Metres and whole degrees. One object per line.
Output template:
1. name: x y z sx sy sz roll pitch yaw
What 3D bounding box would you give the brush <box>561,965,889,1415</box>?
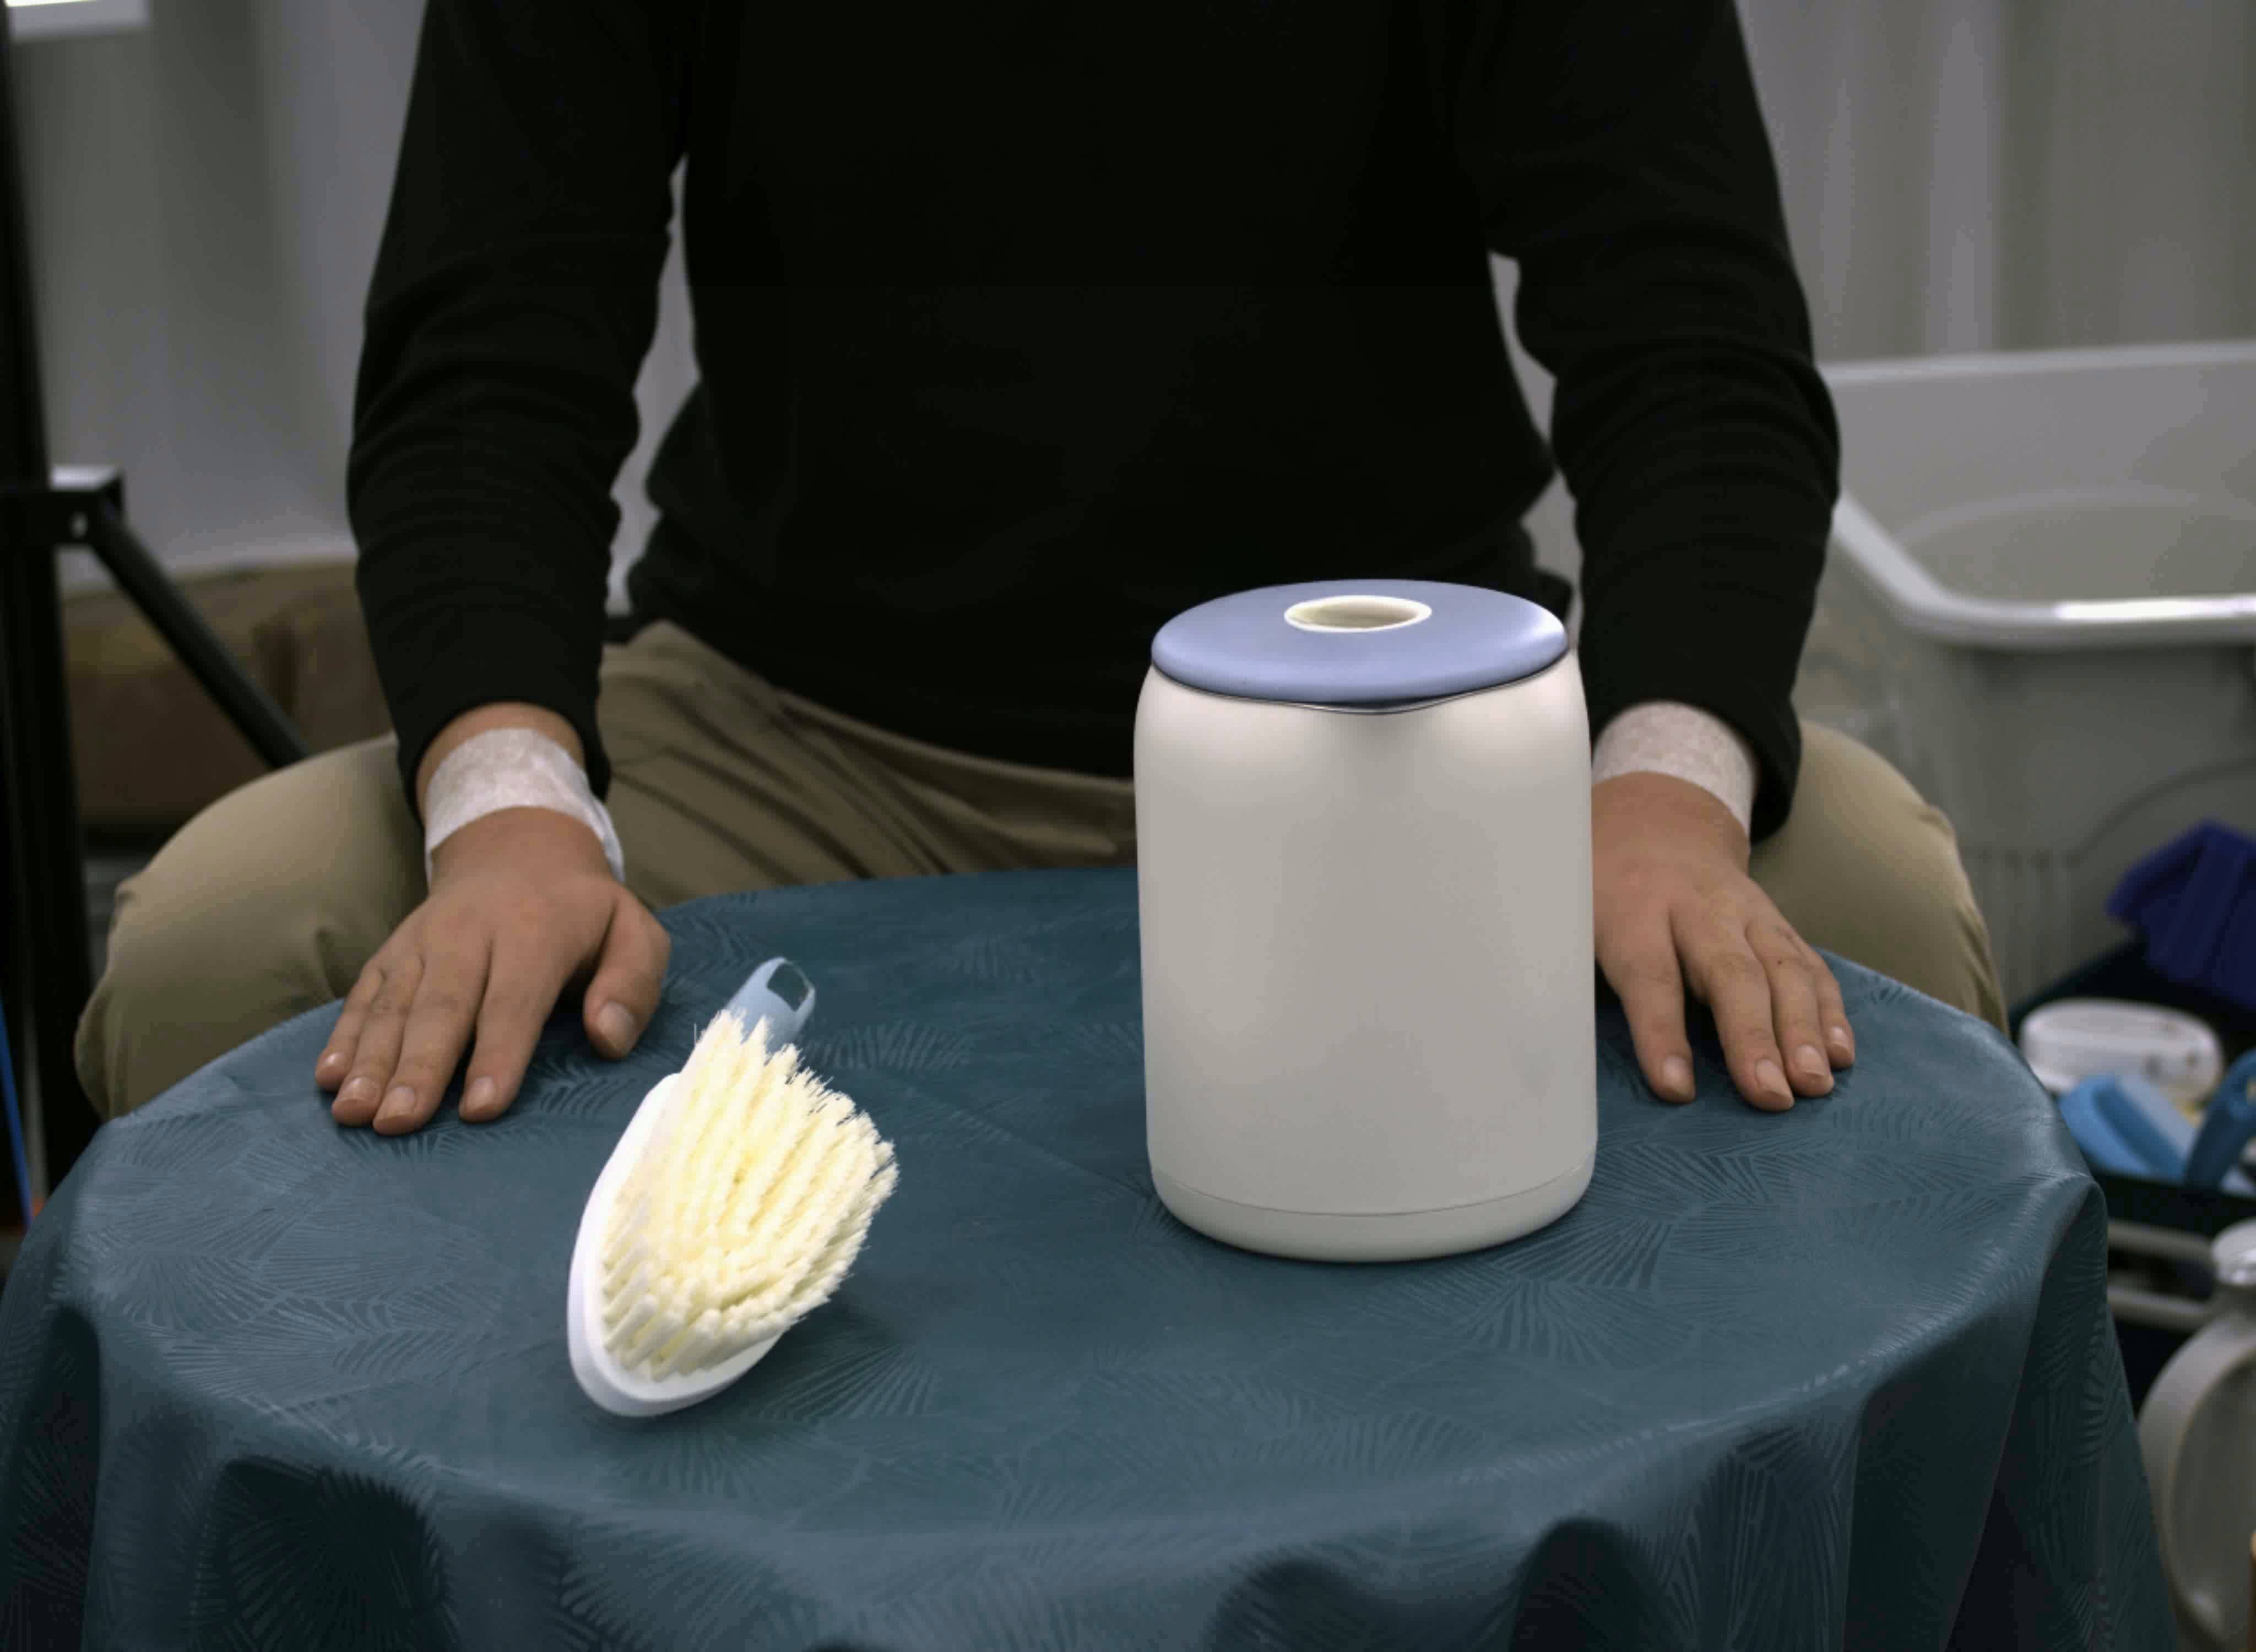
1. brush: -0.104 0.076 1.538 0.085 0.083 0.325 -7 16 8

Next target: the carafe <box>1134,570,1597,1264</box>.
1. carafe: 0.067 0.019 1.547 0.131 0.182 0.192 -3 14 -4
